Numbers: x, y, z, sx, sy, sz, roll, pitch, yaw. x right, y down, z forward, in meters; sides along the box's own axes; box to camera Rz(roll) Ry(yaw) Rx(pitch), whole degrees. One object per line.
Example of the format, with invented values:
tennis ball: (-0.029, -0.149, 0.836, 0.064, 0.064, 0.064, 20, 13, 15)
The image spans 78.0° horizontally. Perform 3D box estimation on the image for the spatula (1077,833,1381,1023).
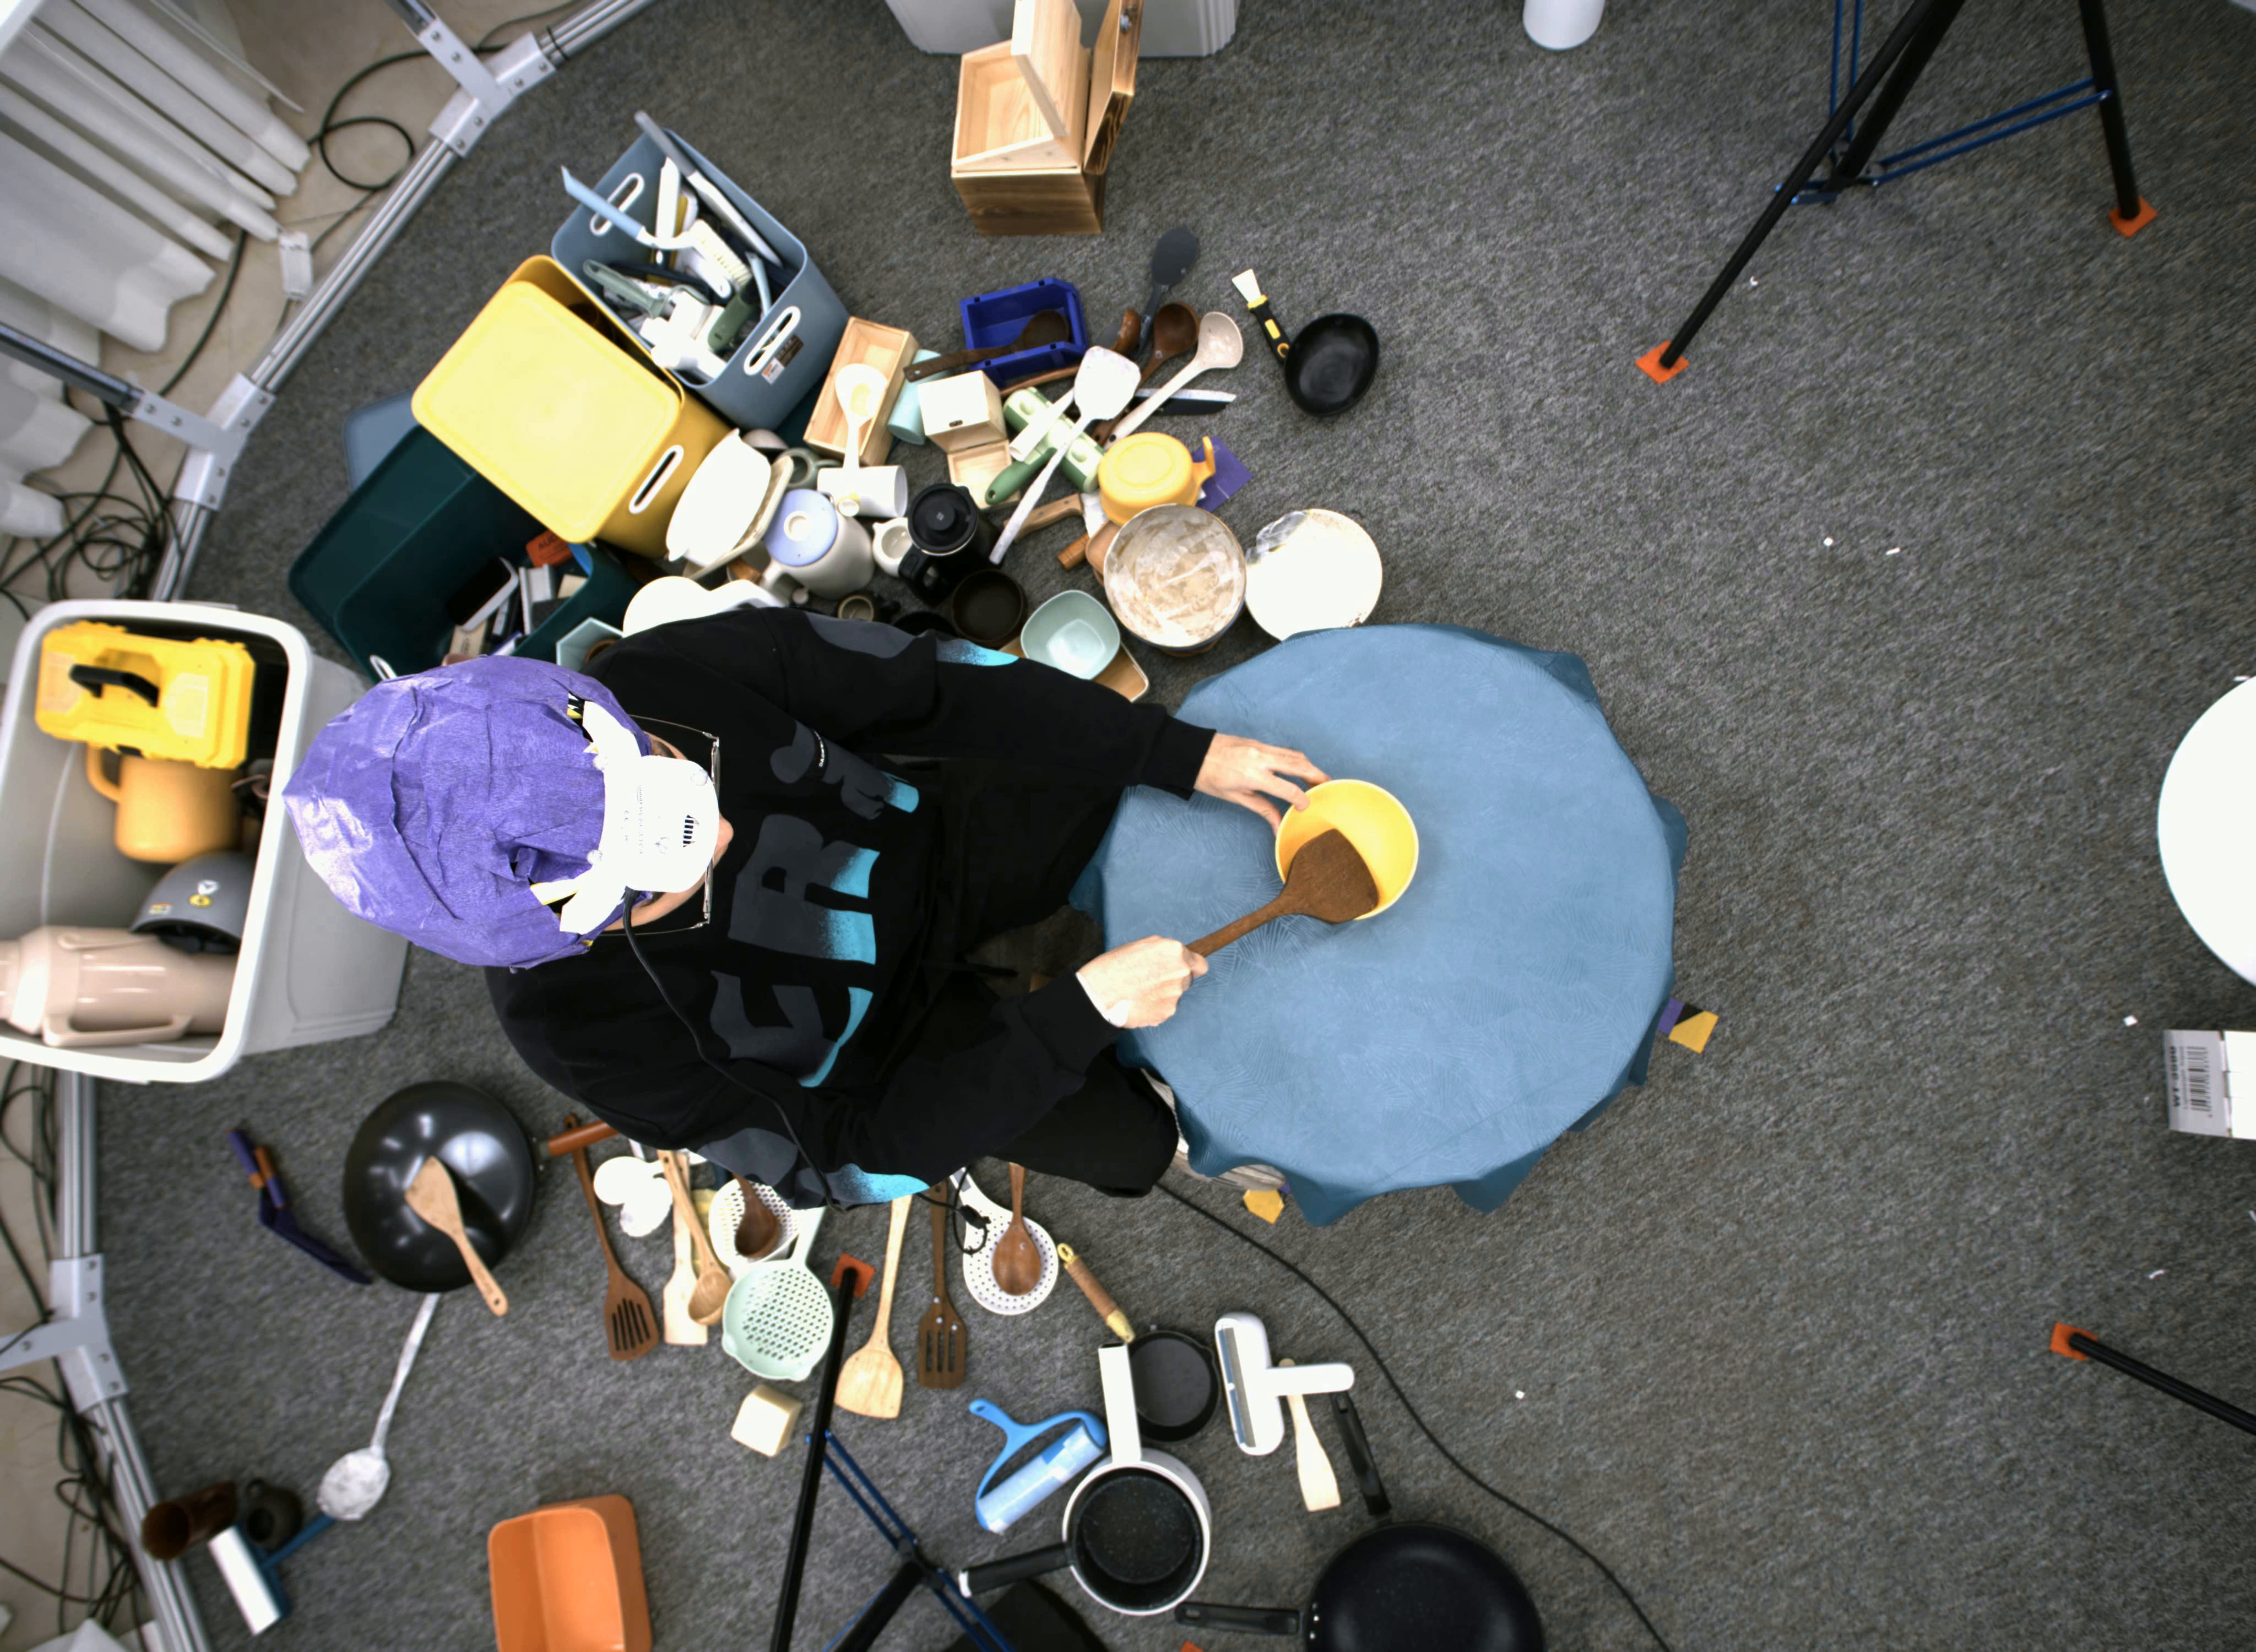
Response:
spatula: (0.102, 0.104, 1.338, 0.380, 0.016, 0.095, -24, 80, -34)

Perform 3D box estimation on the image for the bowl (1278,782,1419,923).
bowl: (0.230, 0.024, 1.441, 0.146, 0.059, 0.146, 1, 97, 11)
